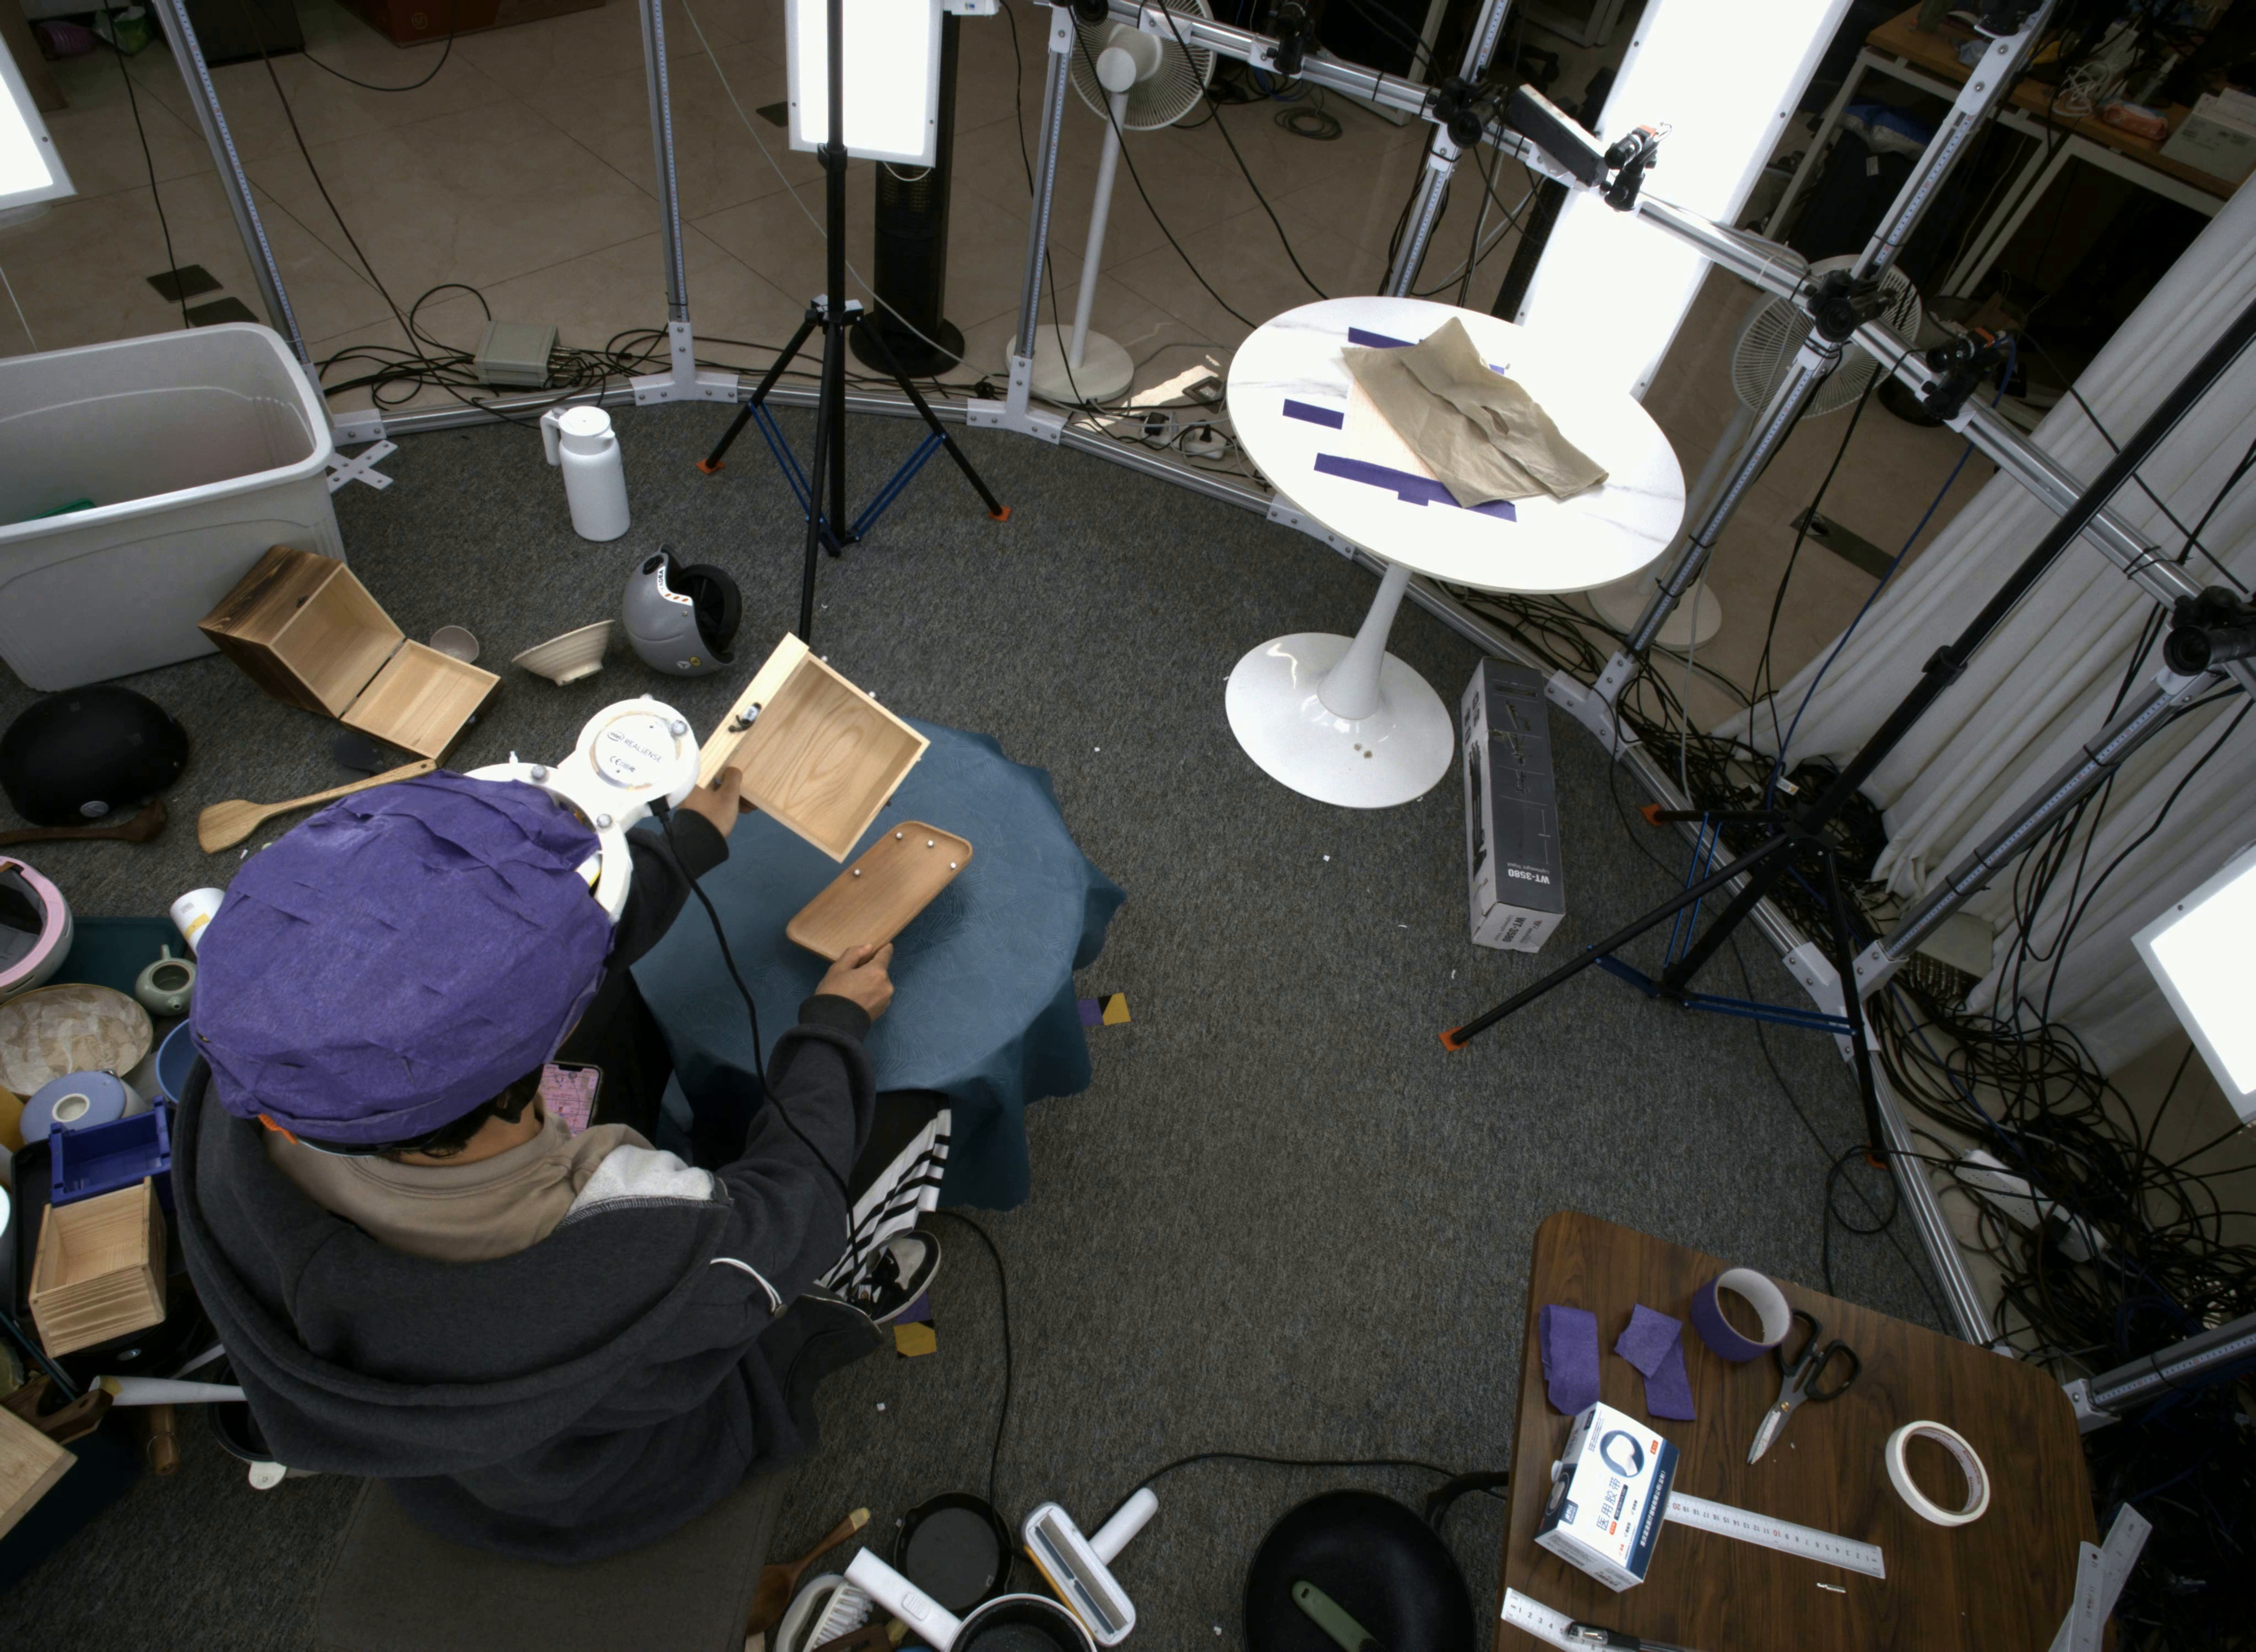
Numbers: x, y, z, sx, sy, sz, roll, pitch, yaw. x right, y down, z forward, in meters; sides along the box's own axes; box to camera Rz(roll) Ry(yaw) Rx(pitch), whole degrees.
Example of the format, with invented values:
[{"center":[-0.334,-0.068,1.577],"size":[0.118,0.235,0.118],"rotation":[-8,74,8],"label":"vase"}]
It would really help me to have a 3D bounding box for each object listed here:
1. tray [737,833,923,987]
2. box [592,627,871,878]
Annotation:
[{"center":[-0.364,0.098,1.603],"size":[0.126,0.024,0.250],"rotation":[16,46,25],"label":"tray"},{"center":[-0.426,-0.072,1.419],"size":[0.272,0.246,0.182],"rotation":[34,88,-25],"label":"box"}]
